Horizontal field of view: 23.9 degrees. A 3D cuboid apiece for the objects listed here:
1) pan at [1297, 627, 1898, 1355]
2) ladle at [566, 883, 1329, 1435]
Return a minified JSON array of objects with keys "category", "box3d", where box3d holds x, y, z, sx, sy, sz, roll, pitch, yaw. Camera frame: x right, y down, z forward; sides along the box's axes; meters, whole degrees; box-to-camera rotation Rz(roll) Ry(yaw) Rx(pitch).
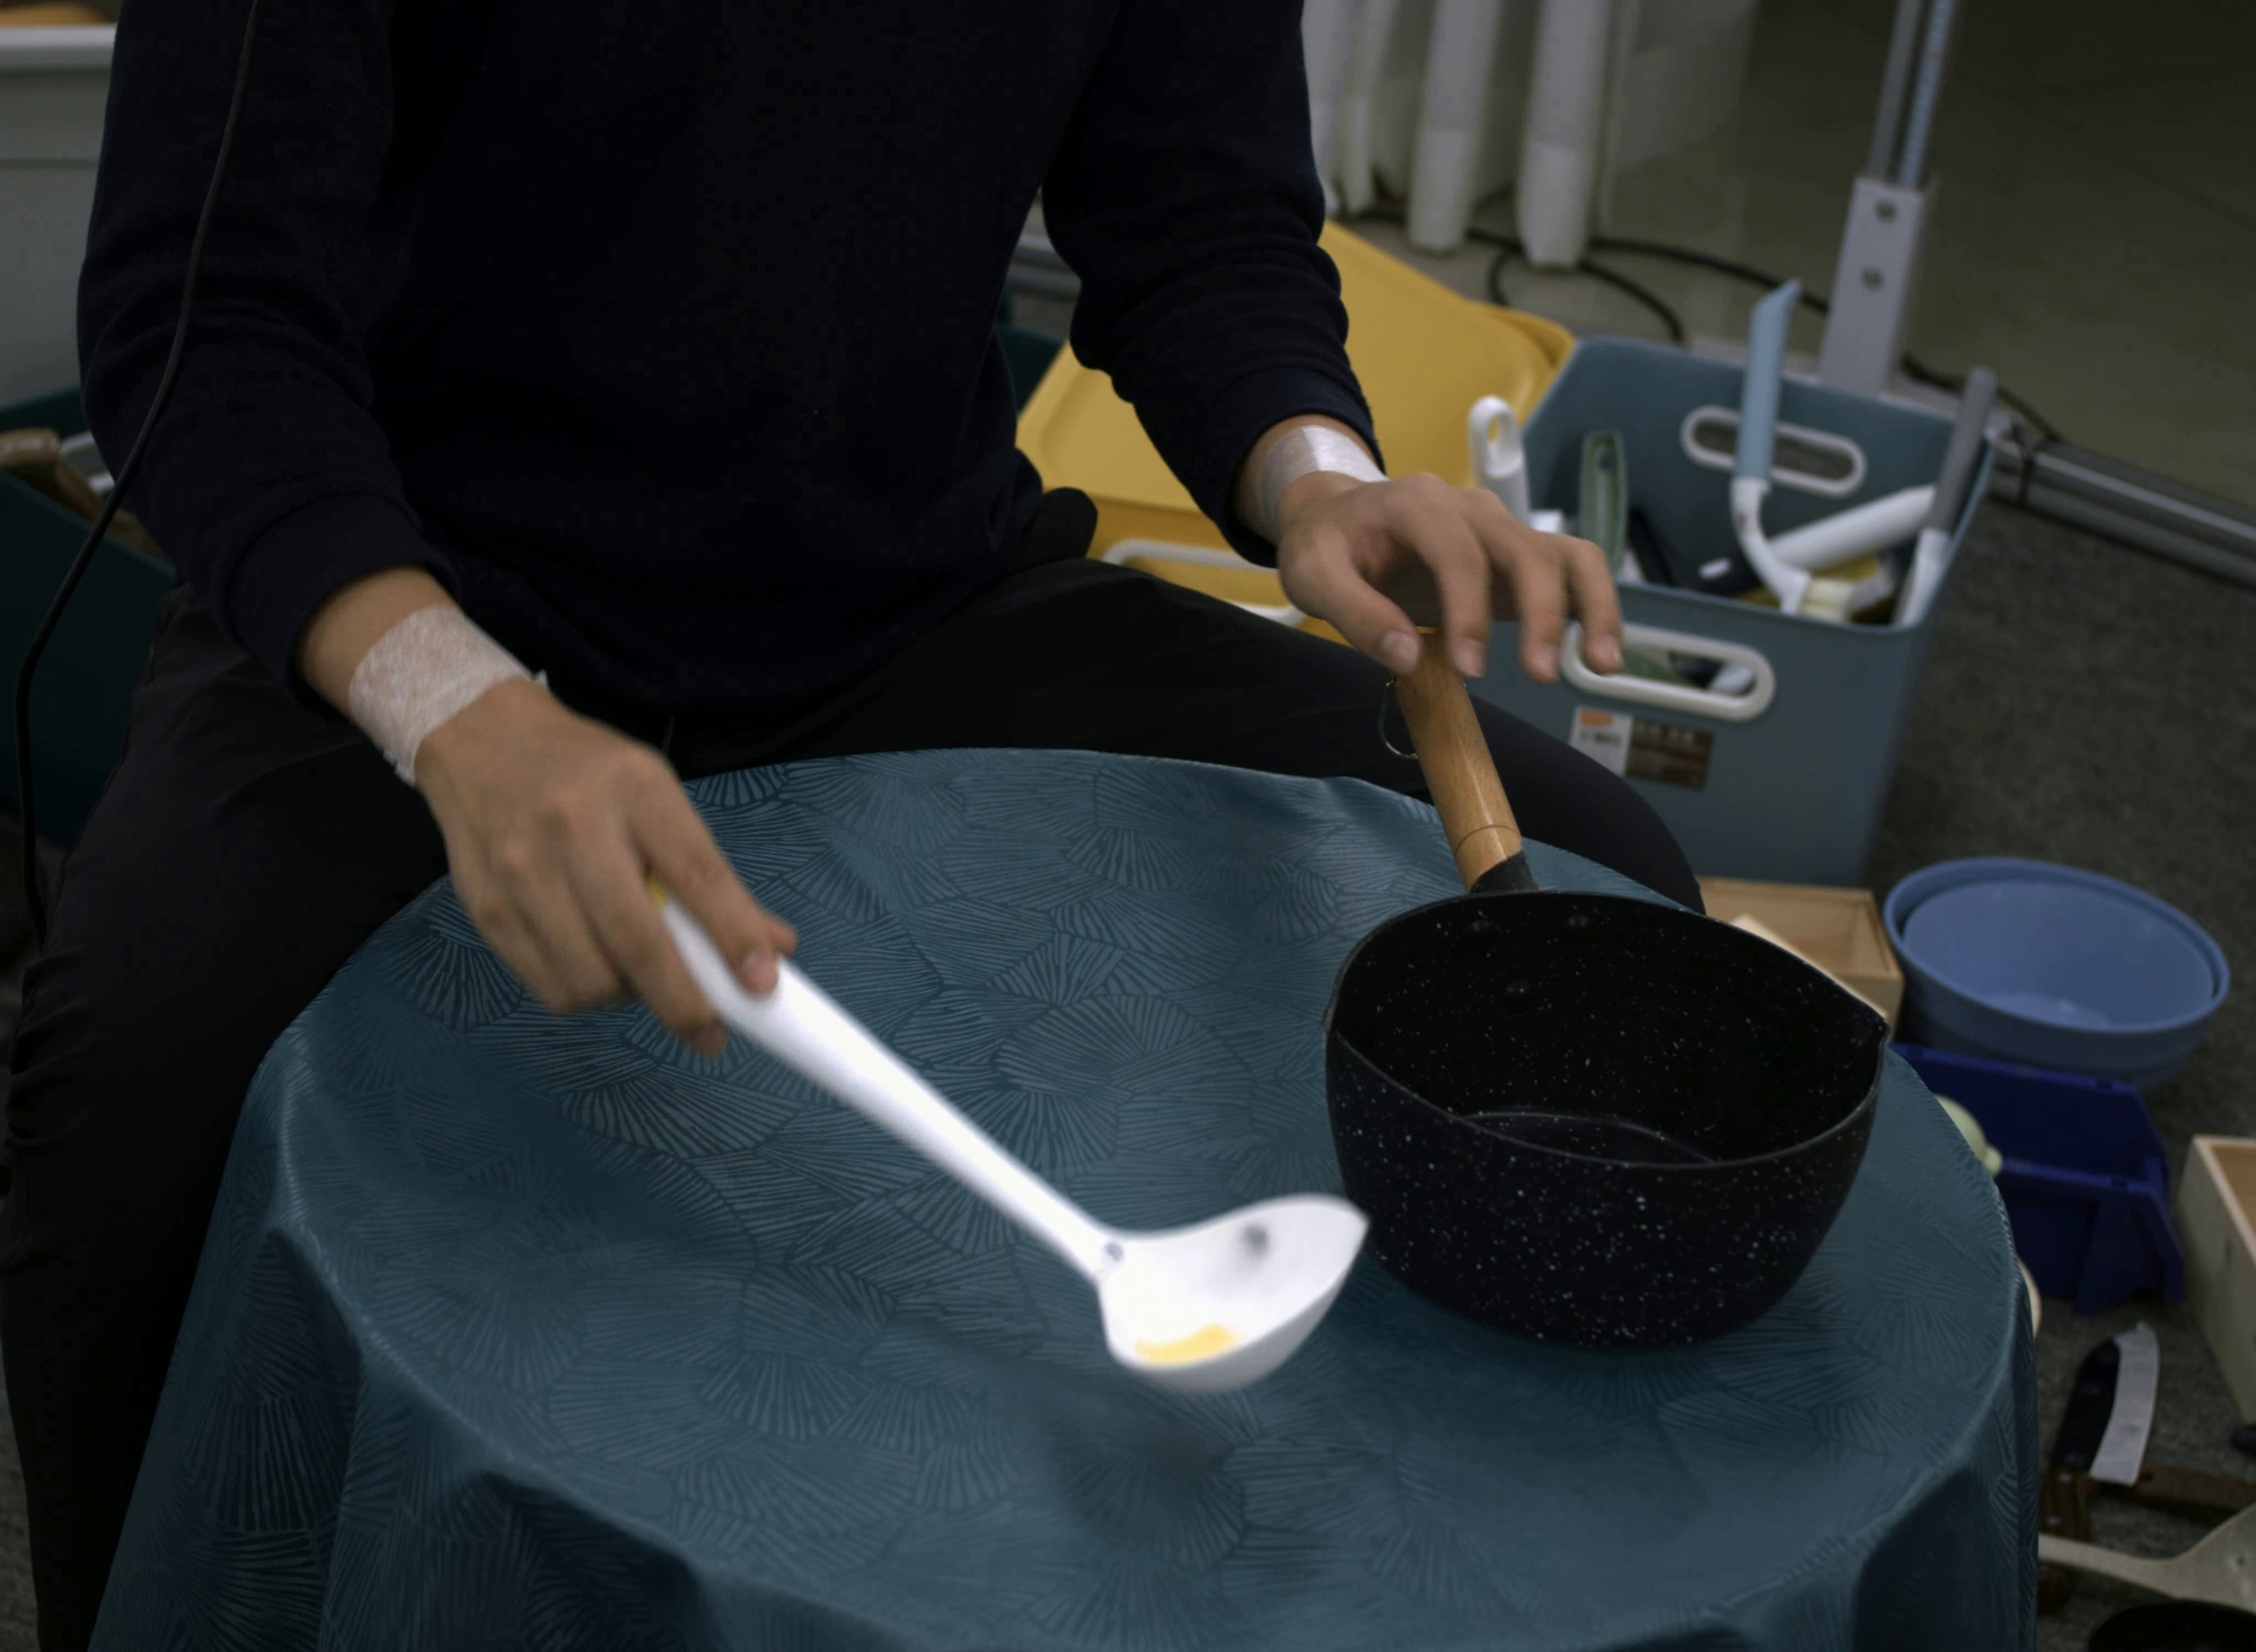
[{"category":"pan","box3d":[0.138,0.054,1.851,0.206,0.108,0.346,-2,30,-14]},{"category":"ladle","box3d":[-0.064,0.097,1.682,0.295,0.069,0.090,35,58,23]}]
